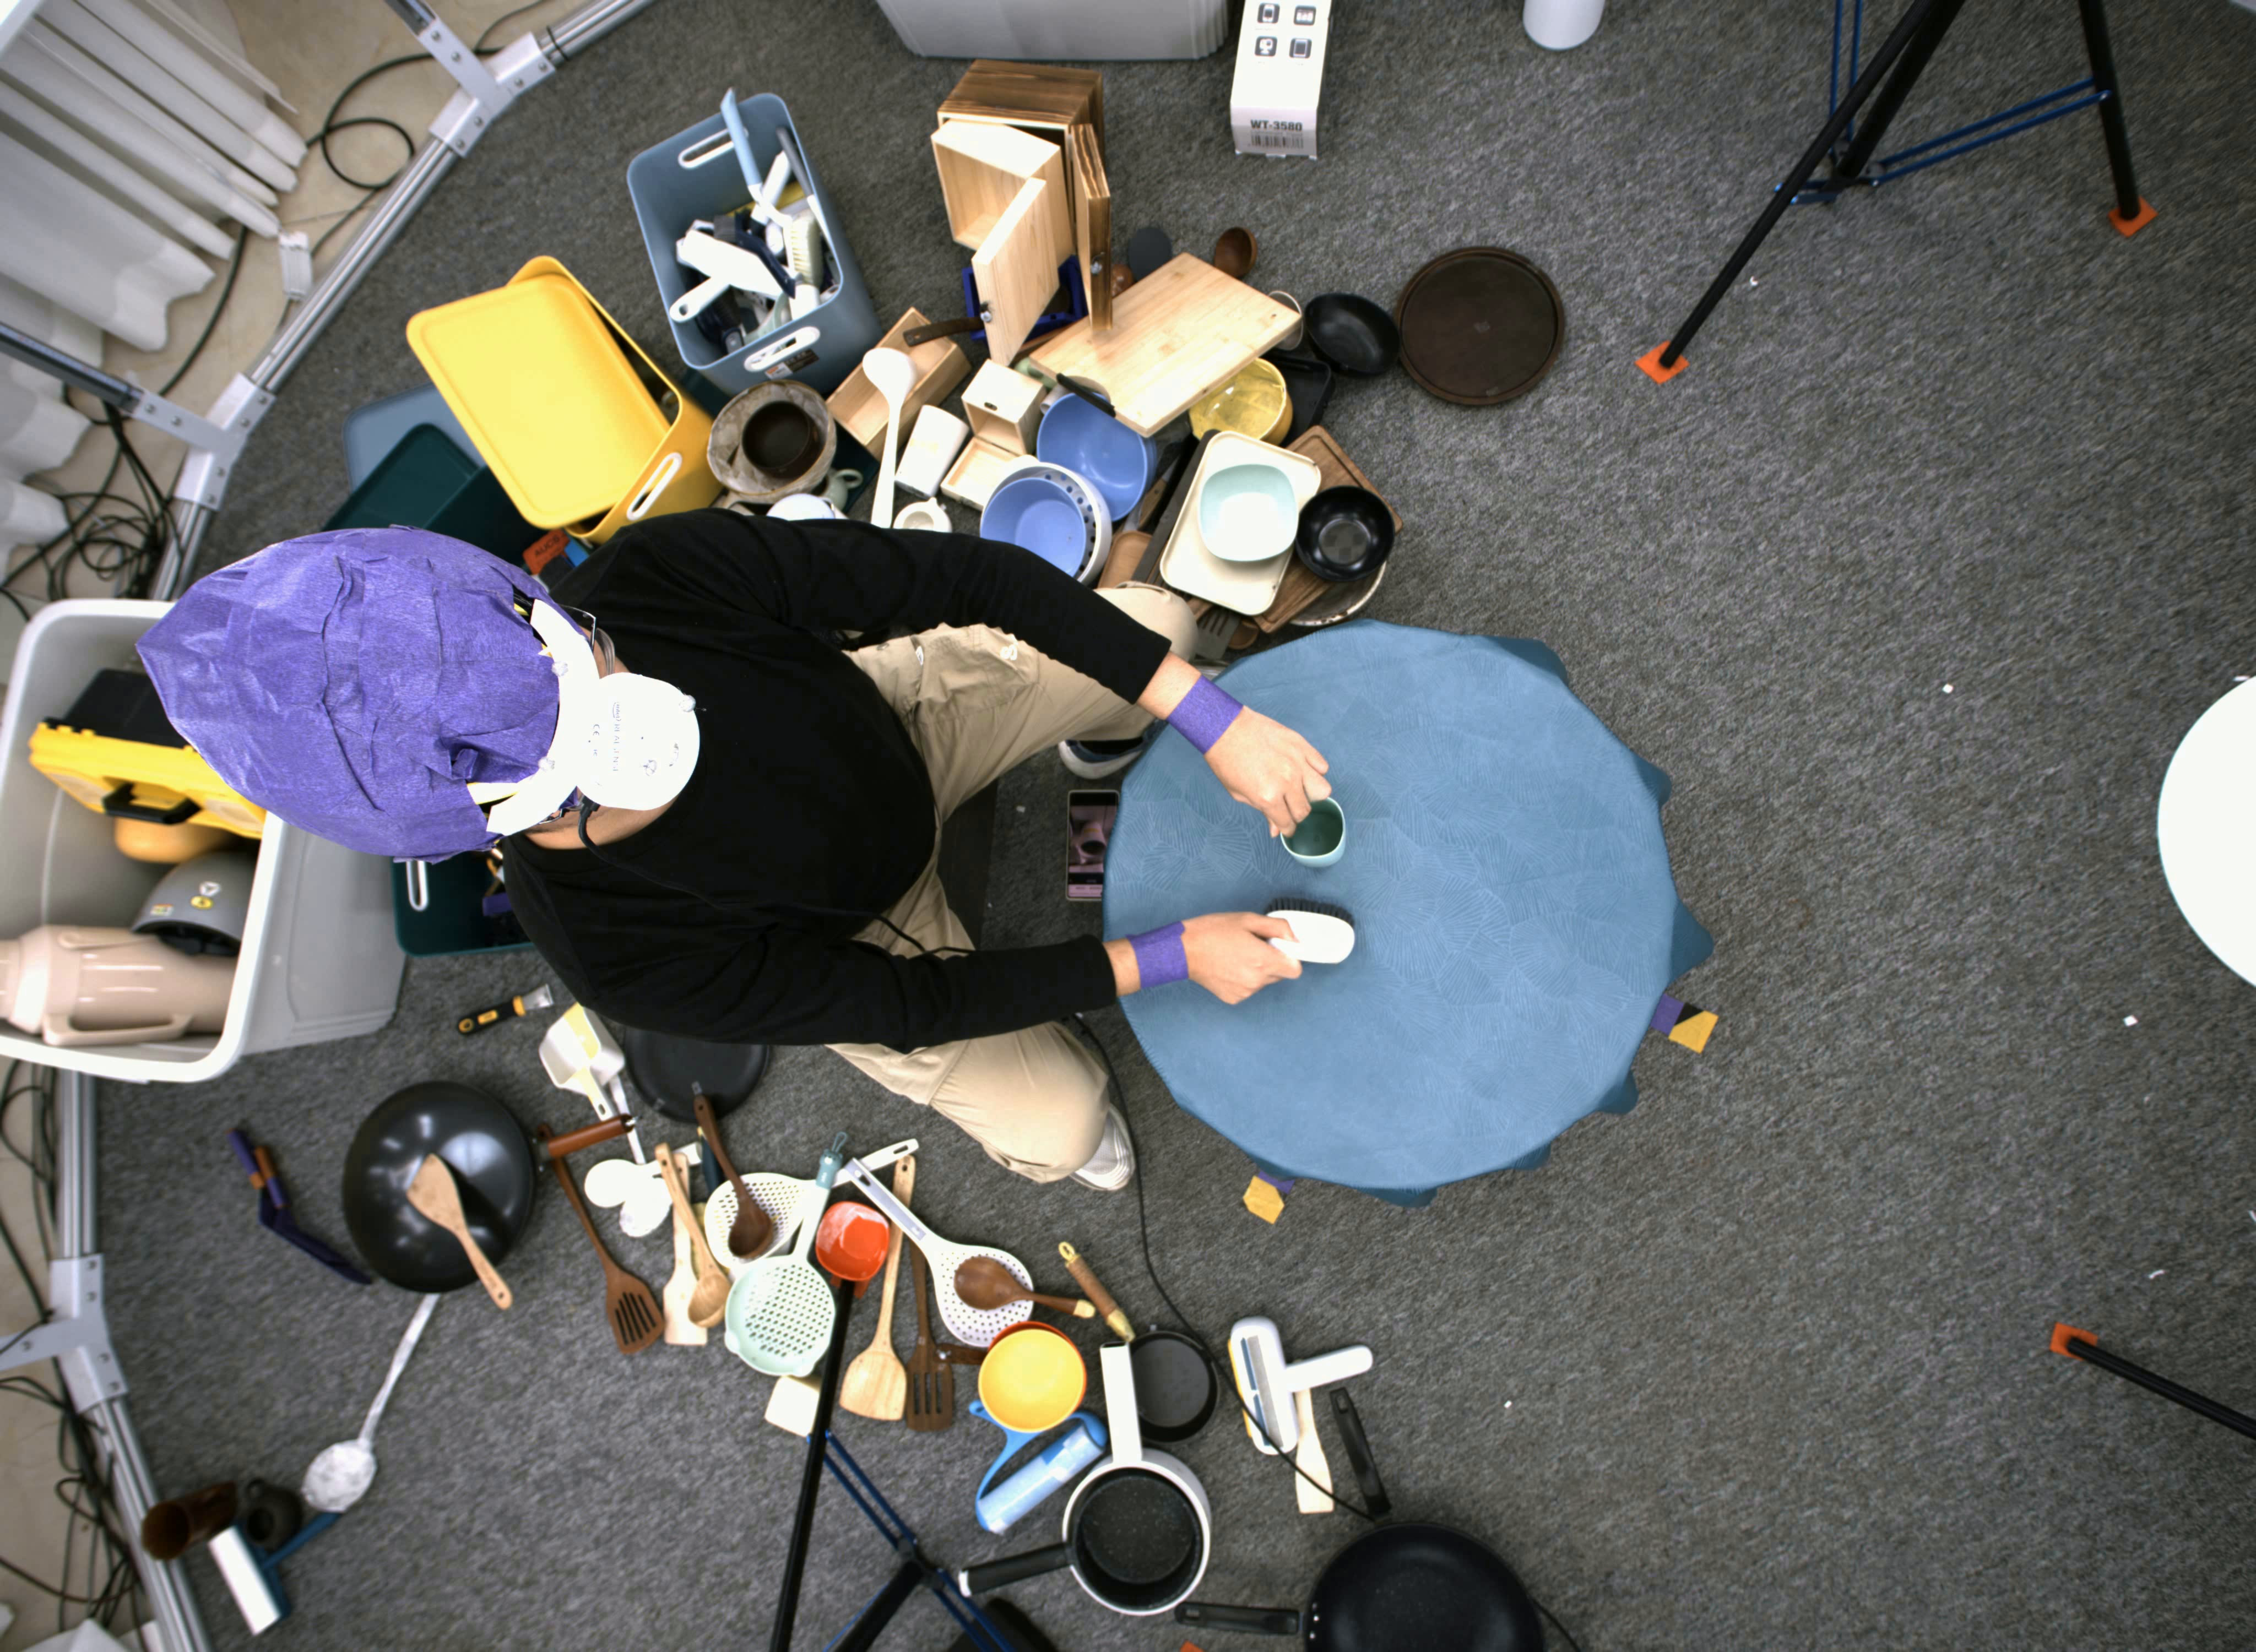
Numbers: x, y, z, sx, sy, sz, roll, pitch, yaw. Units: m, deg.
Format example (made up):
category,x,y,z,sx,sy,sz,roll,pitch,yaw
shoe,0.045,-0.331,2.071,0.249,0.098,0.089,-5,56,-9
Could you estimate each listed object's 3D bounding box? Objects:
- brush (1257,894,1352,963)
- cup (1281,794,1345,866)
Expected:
category,x,y,z,sx,sy,sz,roll,pitch,yaw
brush,0.182,0.112,1.429,0.099,0.071,0.051,11,121,4
cup,0.191,0.006,1.415,0.067,0.132,0.066,-1,85,9
